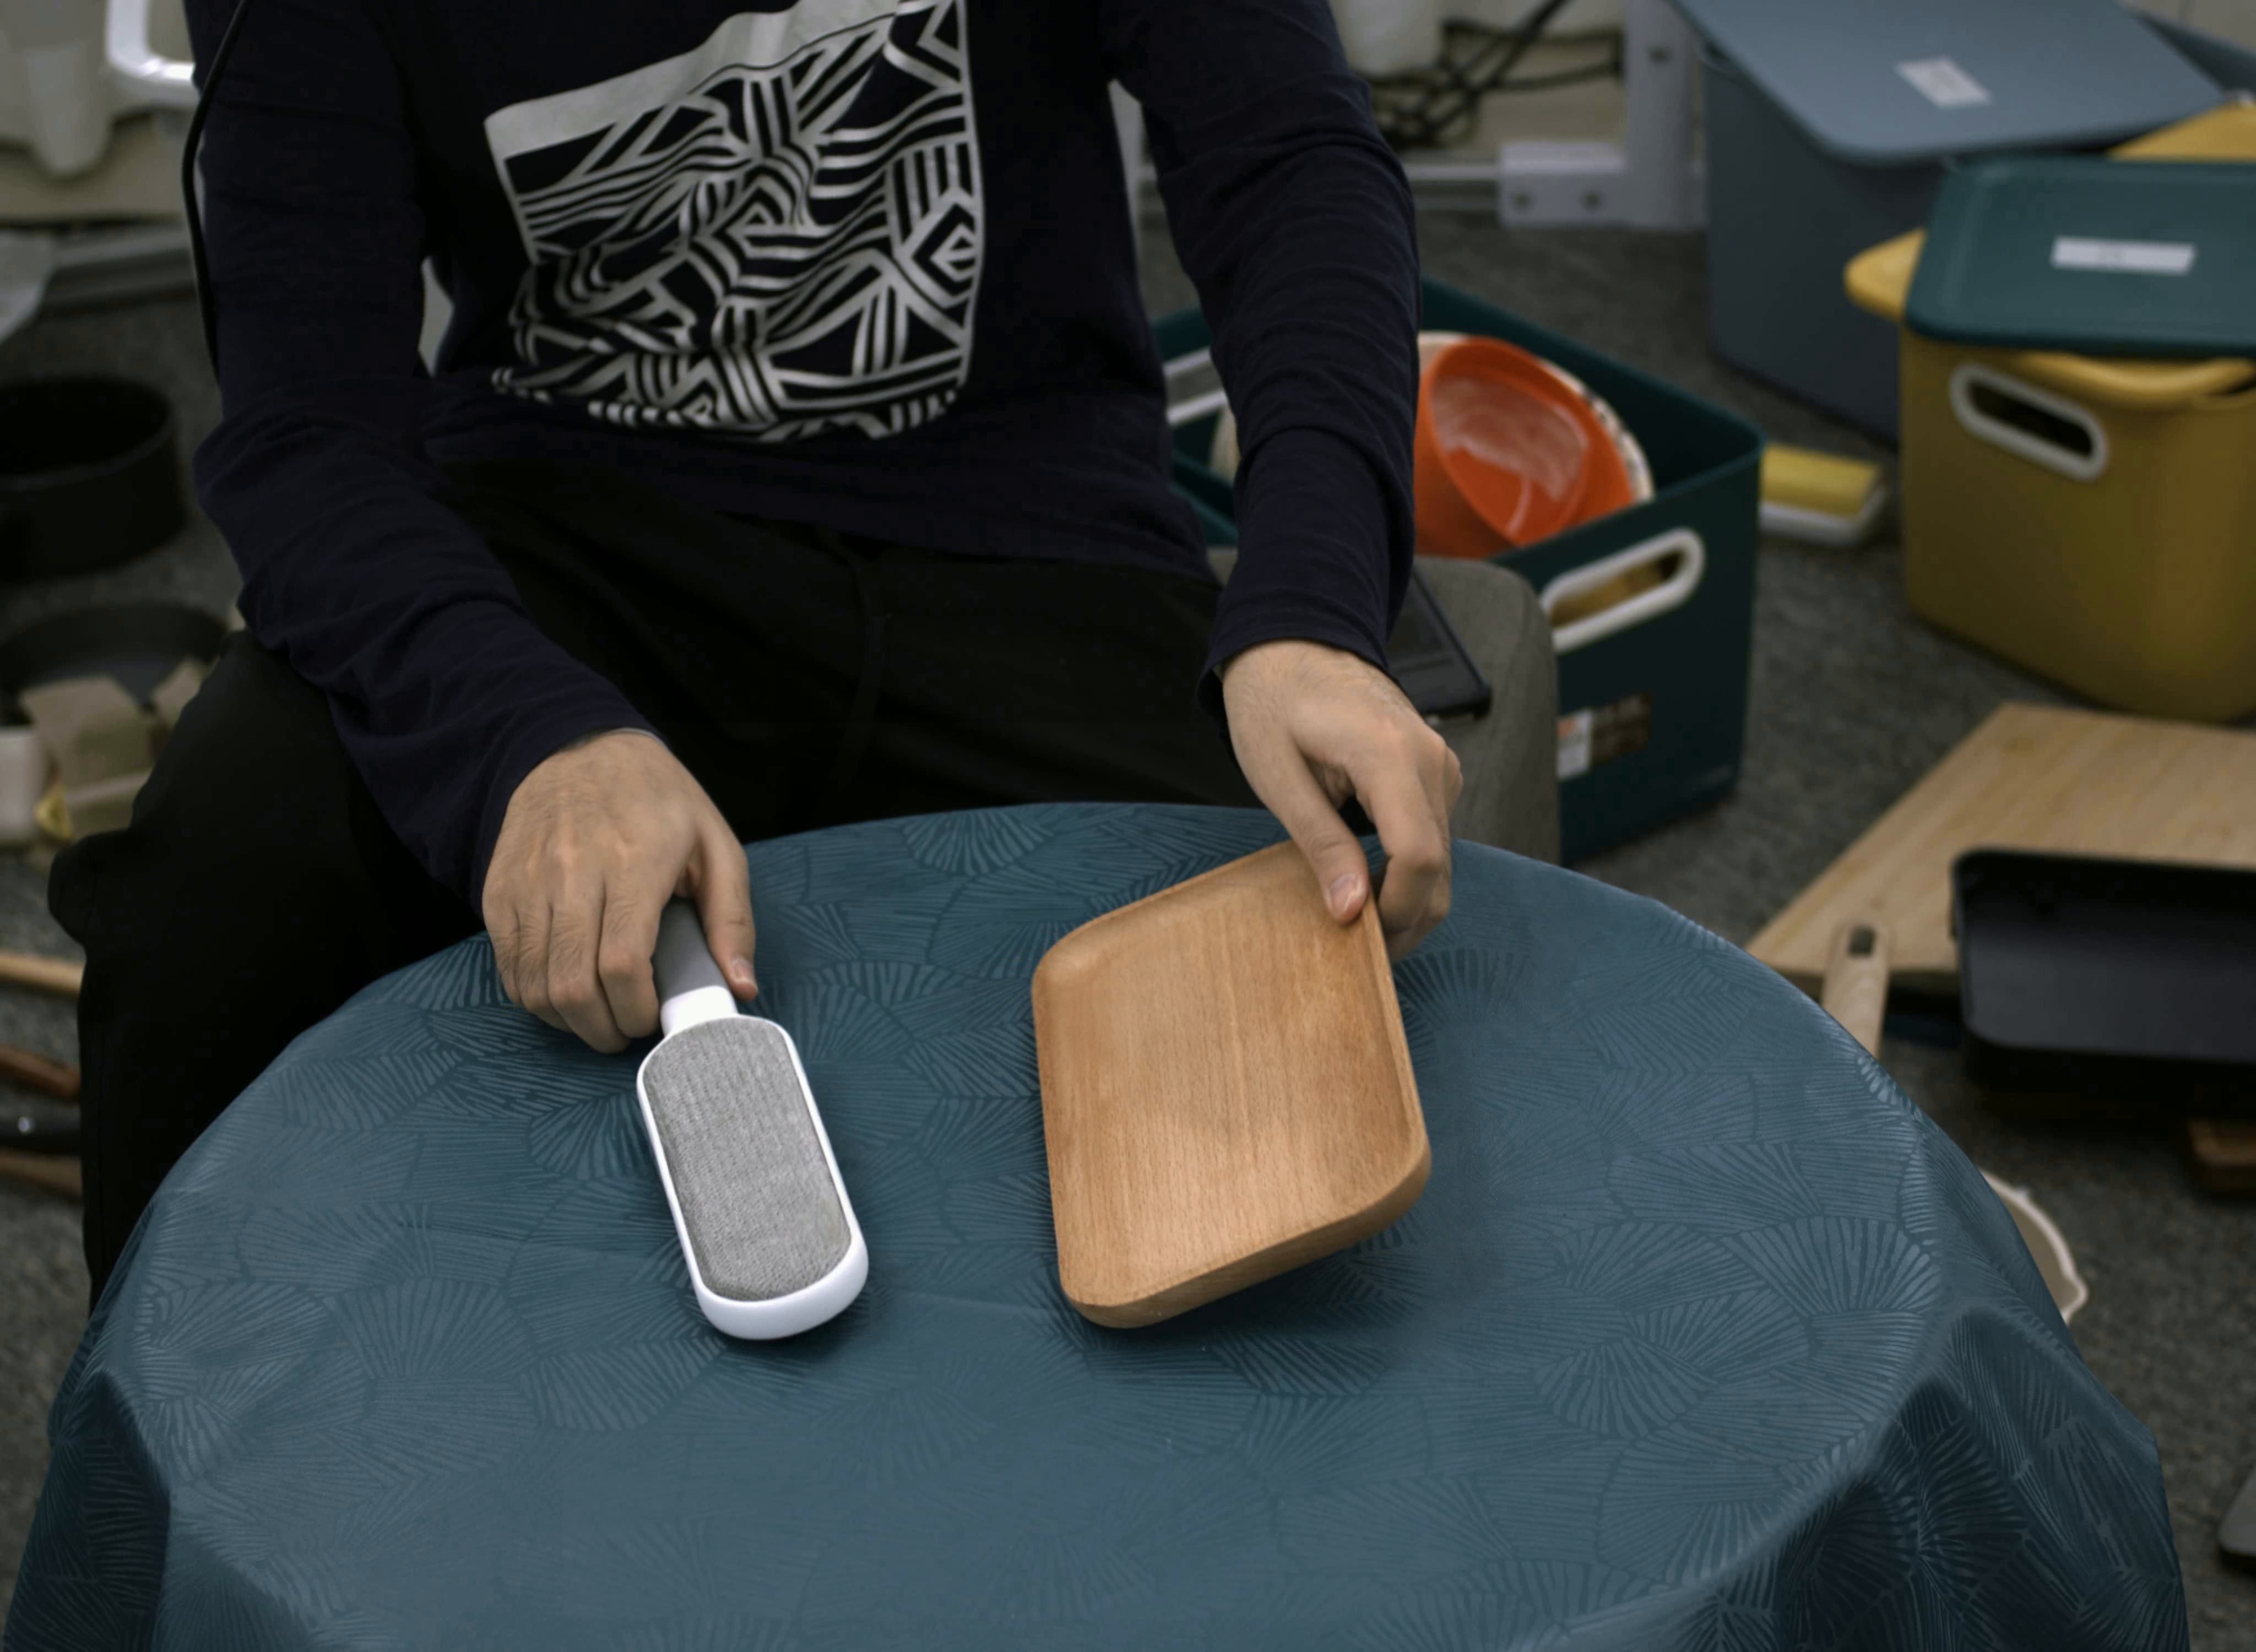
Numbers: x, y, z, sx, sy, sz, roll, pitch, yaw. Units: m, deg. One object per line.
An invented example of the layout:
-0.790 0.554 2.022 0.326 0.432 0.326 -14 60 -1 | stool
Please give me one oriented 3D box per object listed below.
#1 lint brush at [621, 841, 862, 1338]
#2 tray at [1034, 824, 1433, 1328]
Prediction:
-0.139 0.083 1.907 0.060 0.021 0.312 -20 30 -3 | lint brush
0.033 0.081 1.876 0.130 0.022 0.254 -19 27 7 | tray
